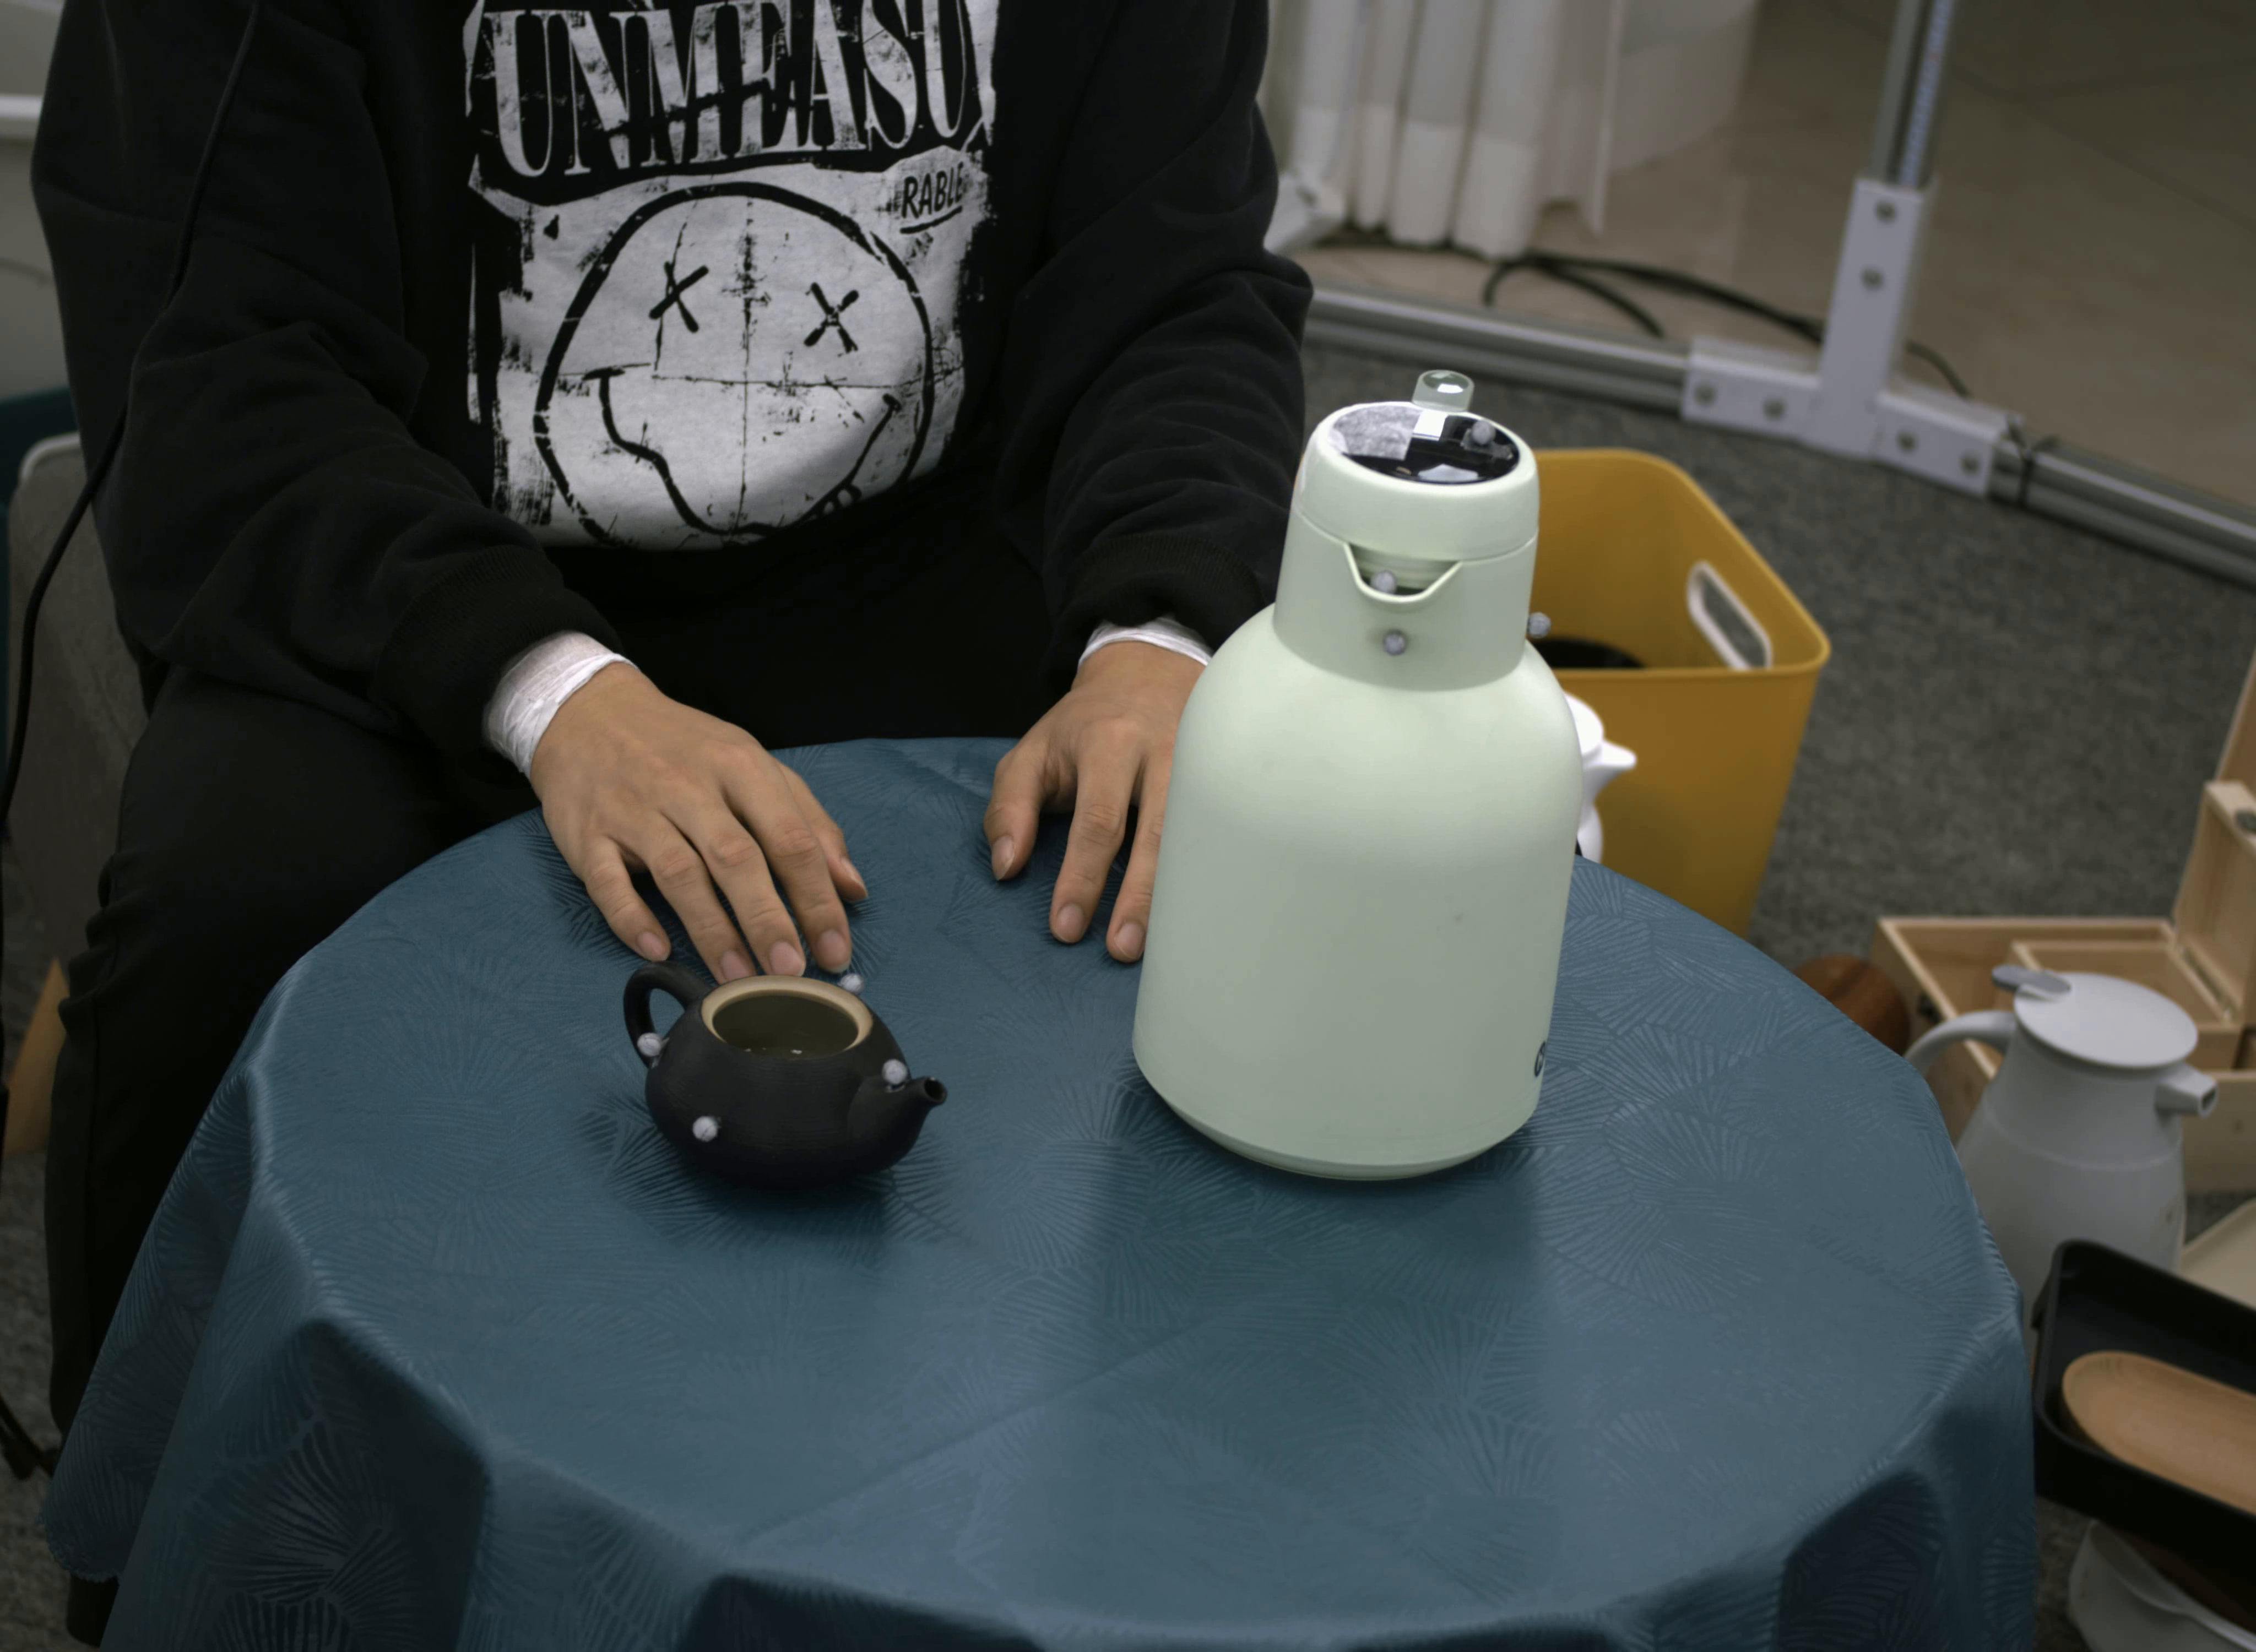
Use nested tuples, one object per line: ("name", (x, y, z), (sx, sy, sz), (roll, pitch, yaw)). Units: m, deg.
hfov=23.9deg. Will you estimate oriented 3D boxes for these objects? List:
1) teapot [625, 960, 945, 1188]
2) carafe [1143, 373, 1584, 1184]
("teapot", (-0.118, 0.086, 1.793), (0.134, 0.053, 0.090), (23, 29, 29))
("carafe", (0.088, -0.021, 1.836), (0.144, 0.256, 0.187), (8, 23, 6))
